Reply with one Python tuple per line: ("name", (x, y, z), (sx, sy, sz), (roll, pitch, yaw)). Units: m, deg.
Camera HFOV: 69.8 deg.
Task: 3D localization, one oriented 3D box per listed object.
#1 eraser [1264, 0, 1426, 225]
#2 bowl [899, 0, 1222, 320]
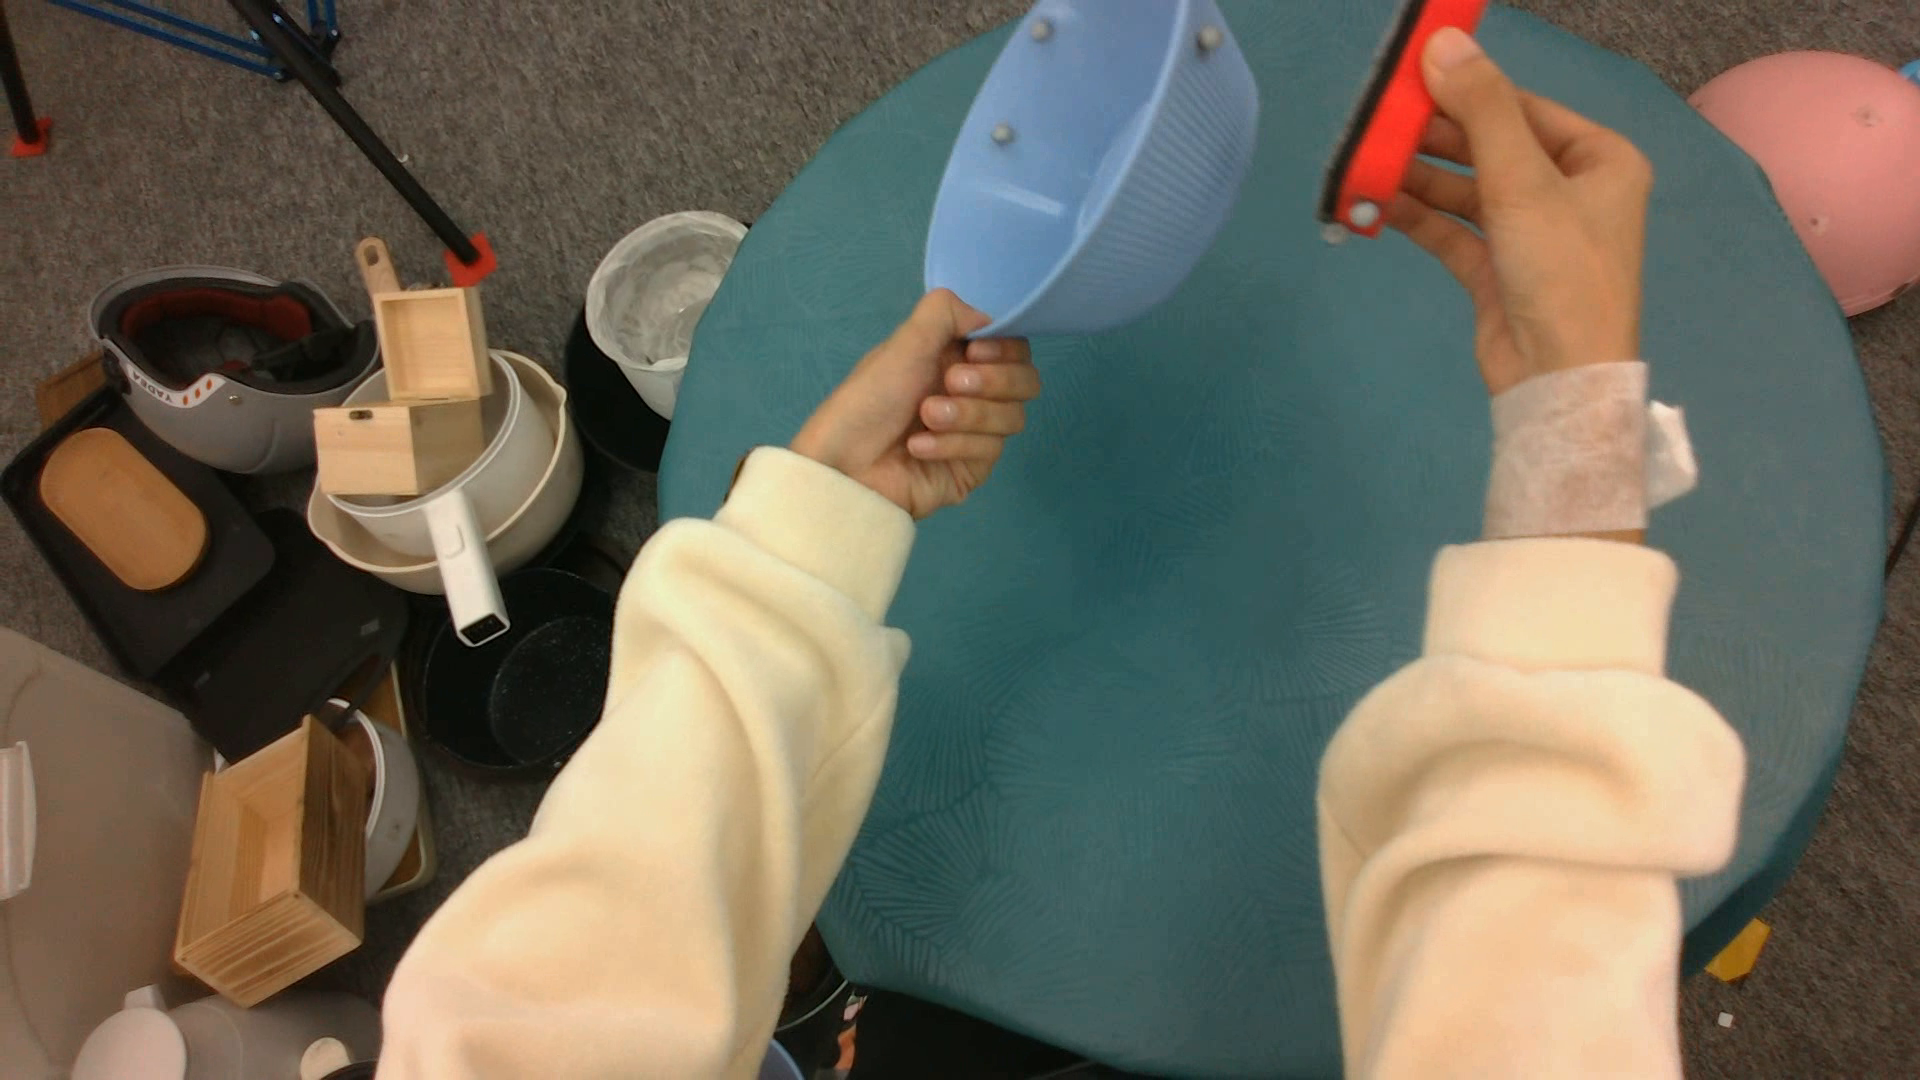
("eraser", (0.136, -0.164, 0.462), (0.023, 0.059, 0.108), (25, 88, 9))
("bowl", (0.045, -0.162, 0.565), (0.070, 0.175, 0.176), (19, 68, -27))
